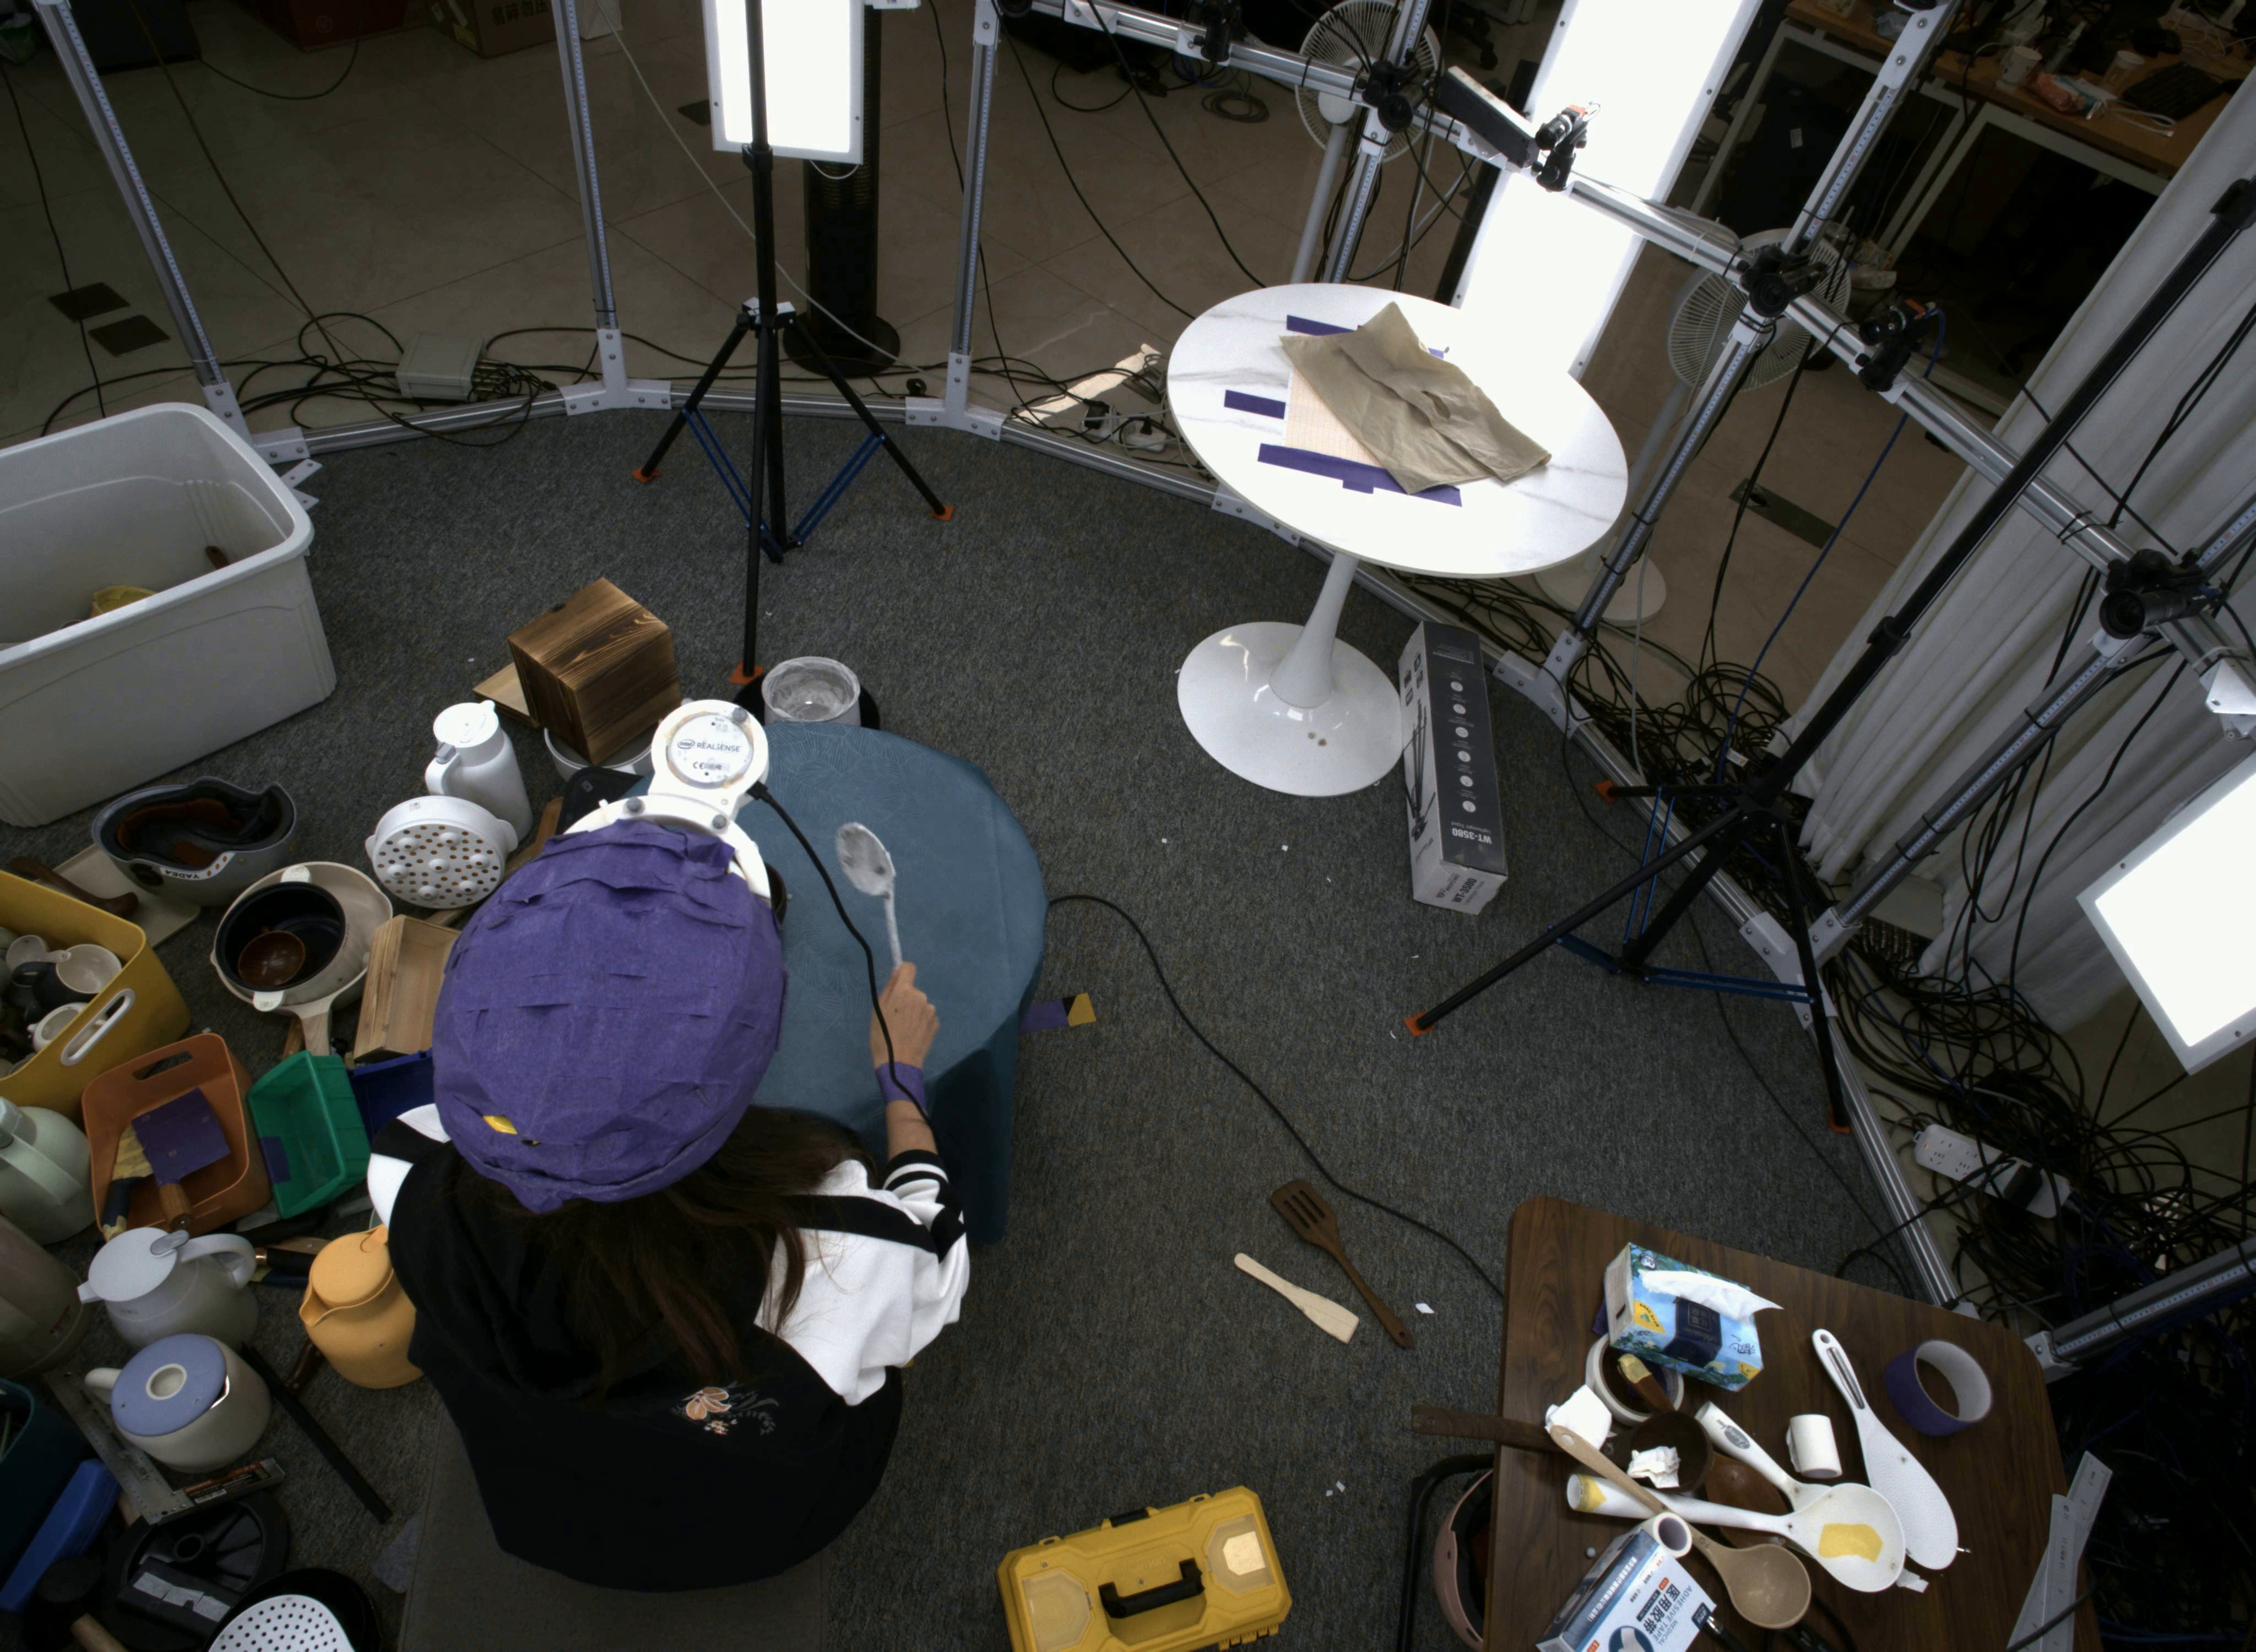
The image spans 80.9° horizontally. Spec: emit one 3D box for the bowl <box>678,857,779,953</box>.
[{"bbox_3d":[-0.486,0.102,1.579,0.118,0.071,0.116,7,52,-8],"label":"bowl"}]

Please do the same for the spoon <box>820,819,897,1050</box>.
[{"bbox_3d":[-0.312,0.124,1.499,0.061,0.100,0.273,7,60,-37],"label":"spoon"}]
